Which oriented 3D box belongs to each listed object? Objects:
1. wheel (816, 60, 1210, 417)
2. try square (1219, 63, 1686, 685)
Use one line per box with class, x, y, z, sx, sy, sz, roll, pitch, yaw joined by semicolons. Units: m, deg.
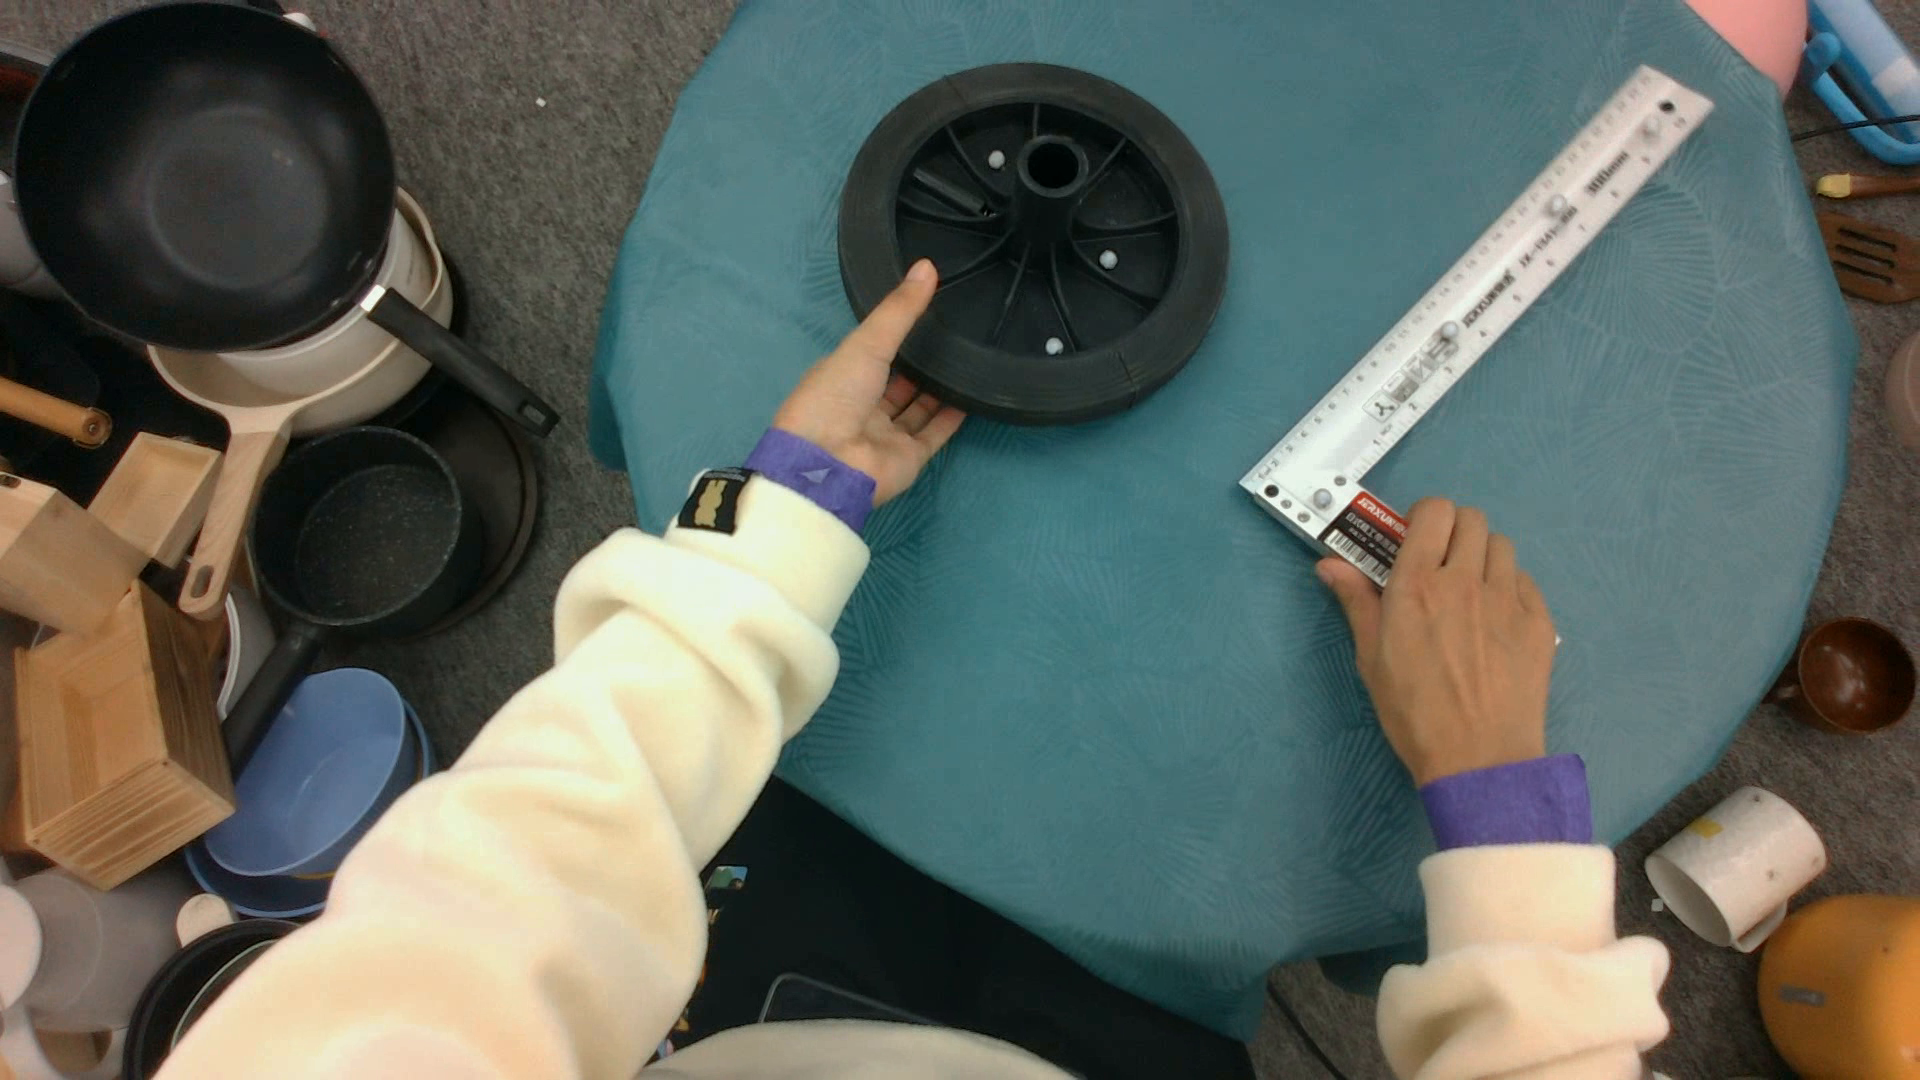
wheel;0.028;-0.155;0.642;0.190;0.079;0.188;8;71;-3
try square;0.281;-0.090;0.653;0.313;0.016;0.152;-44;71;-11
